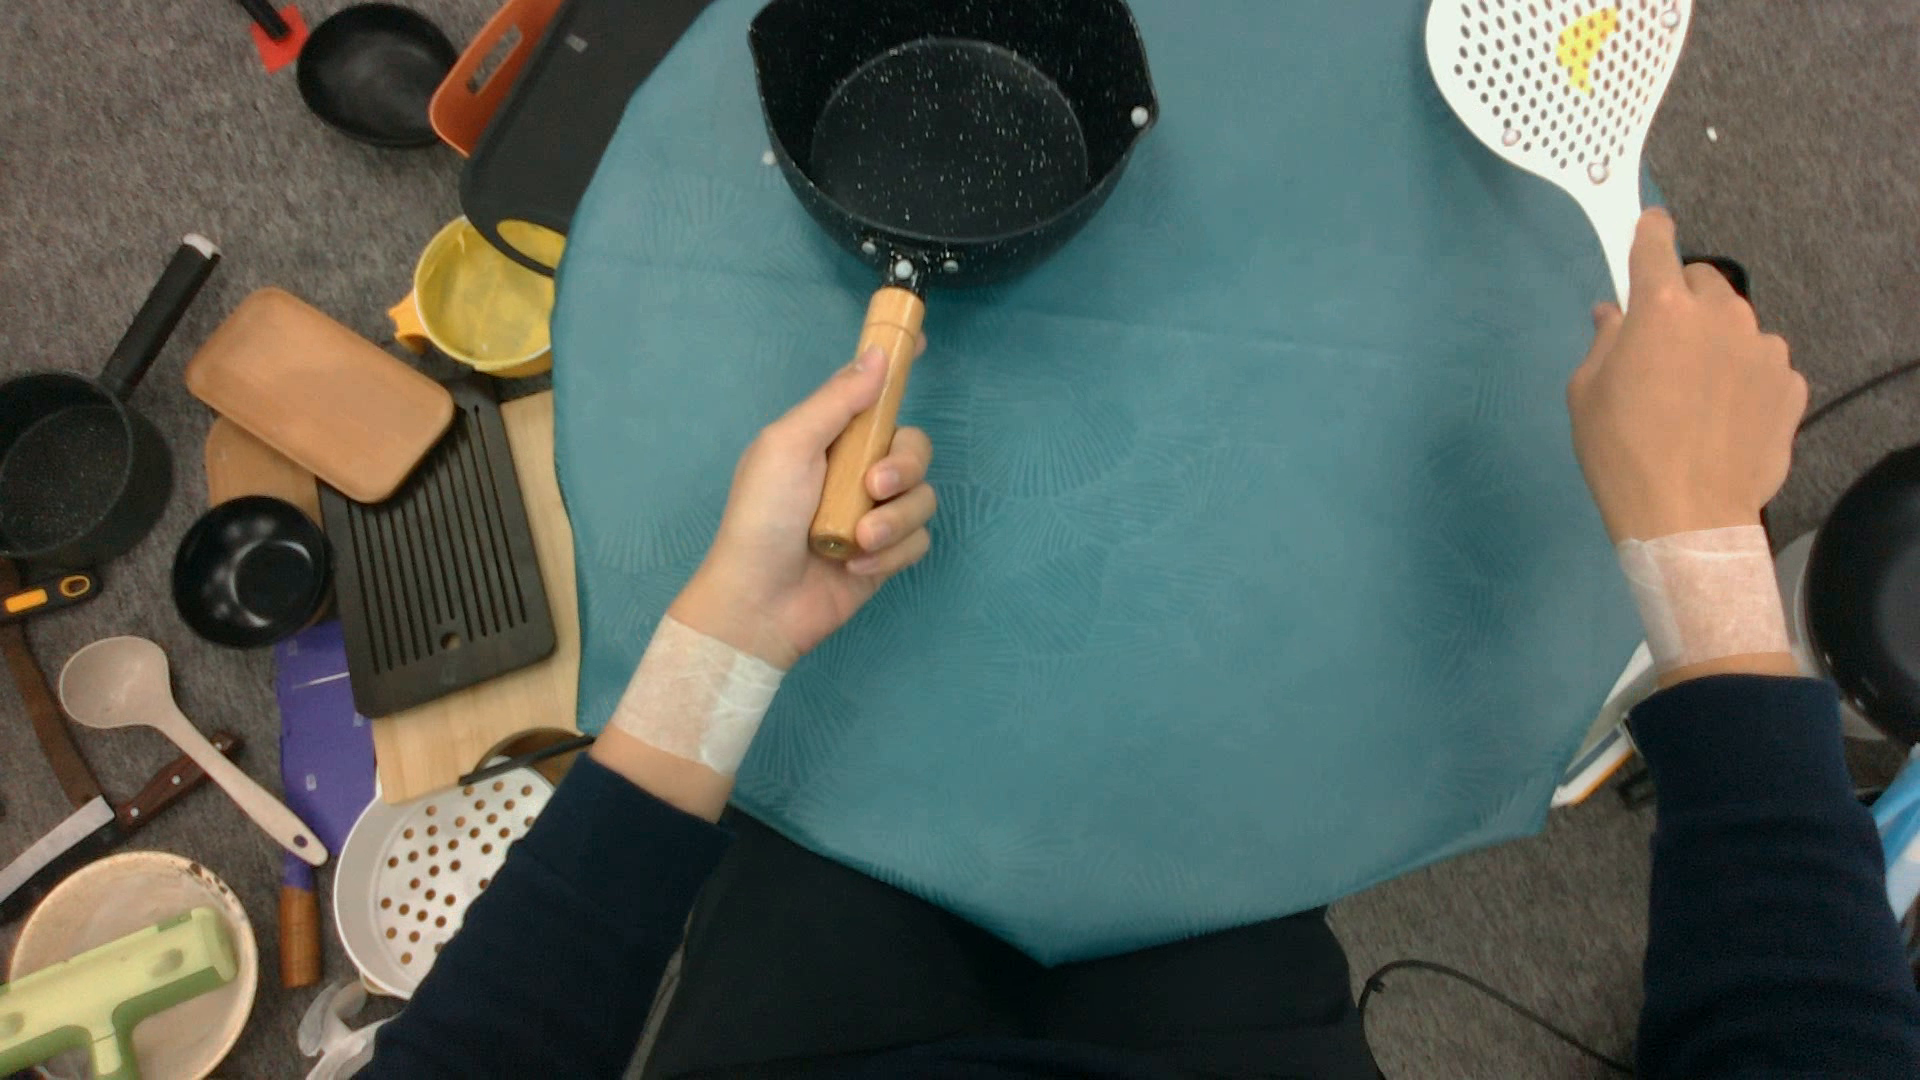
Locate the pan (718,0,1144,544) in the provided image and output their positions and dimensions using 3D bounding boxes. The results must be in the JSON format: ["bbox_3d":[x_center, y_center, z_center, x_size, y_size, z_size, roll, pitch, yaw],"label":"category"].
[{"bbox_3d":[-0.027,-0.148,0.658,0.207,0.108,0.344,10,73,-1],"label":"pan"}]

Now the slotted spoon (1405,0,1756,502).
[{"bbox_3d":[0.301,-0.176,0.648,0.050,0.136,0.349,21,55,-37],"label":"slotted spoon"}]
